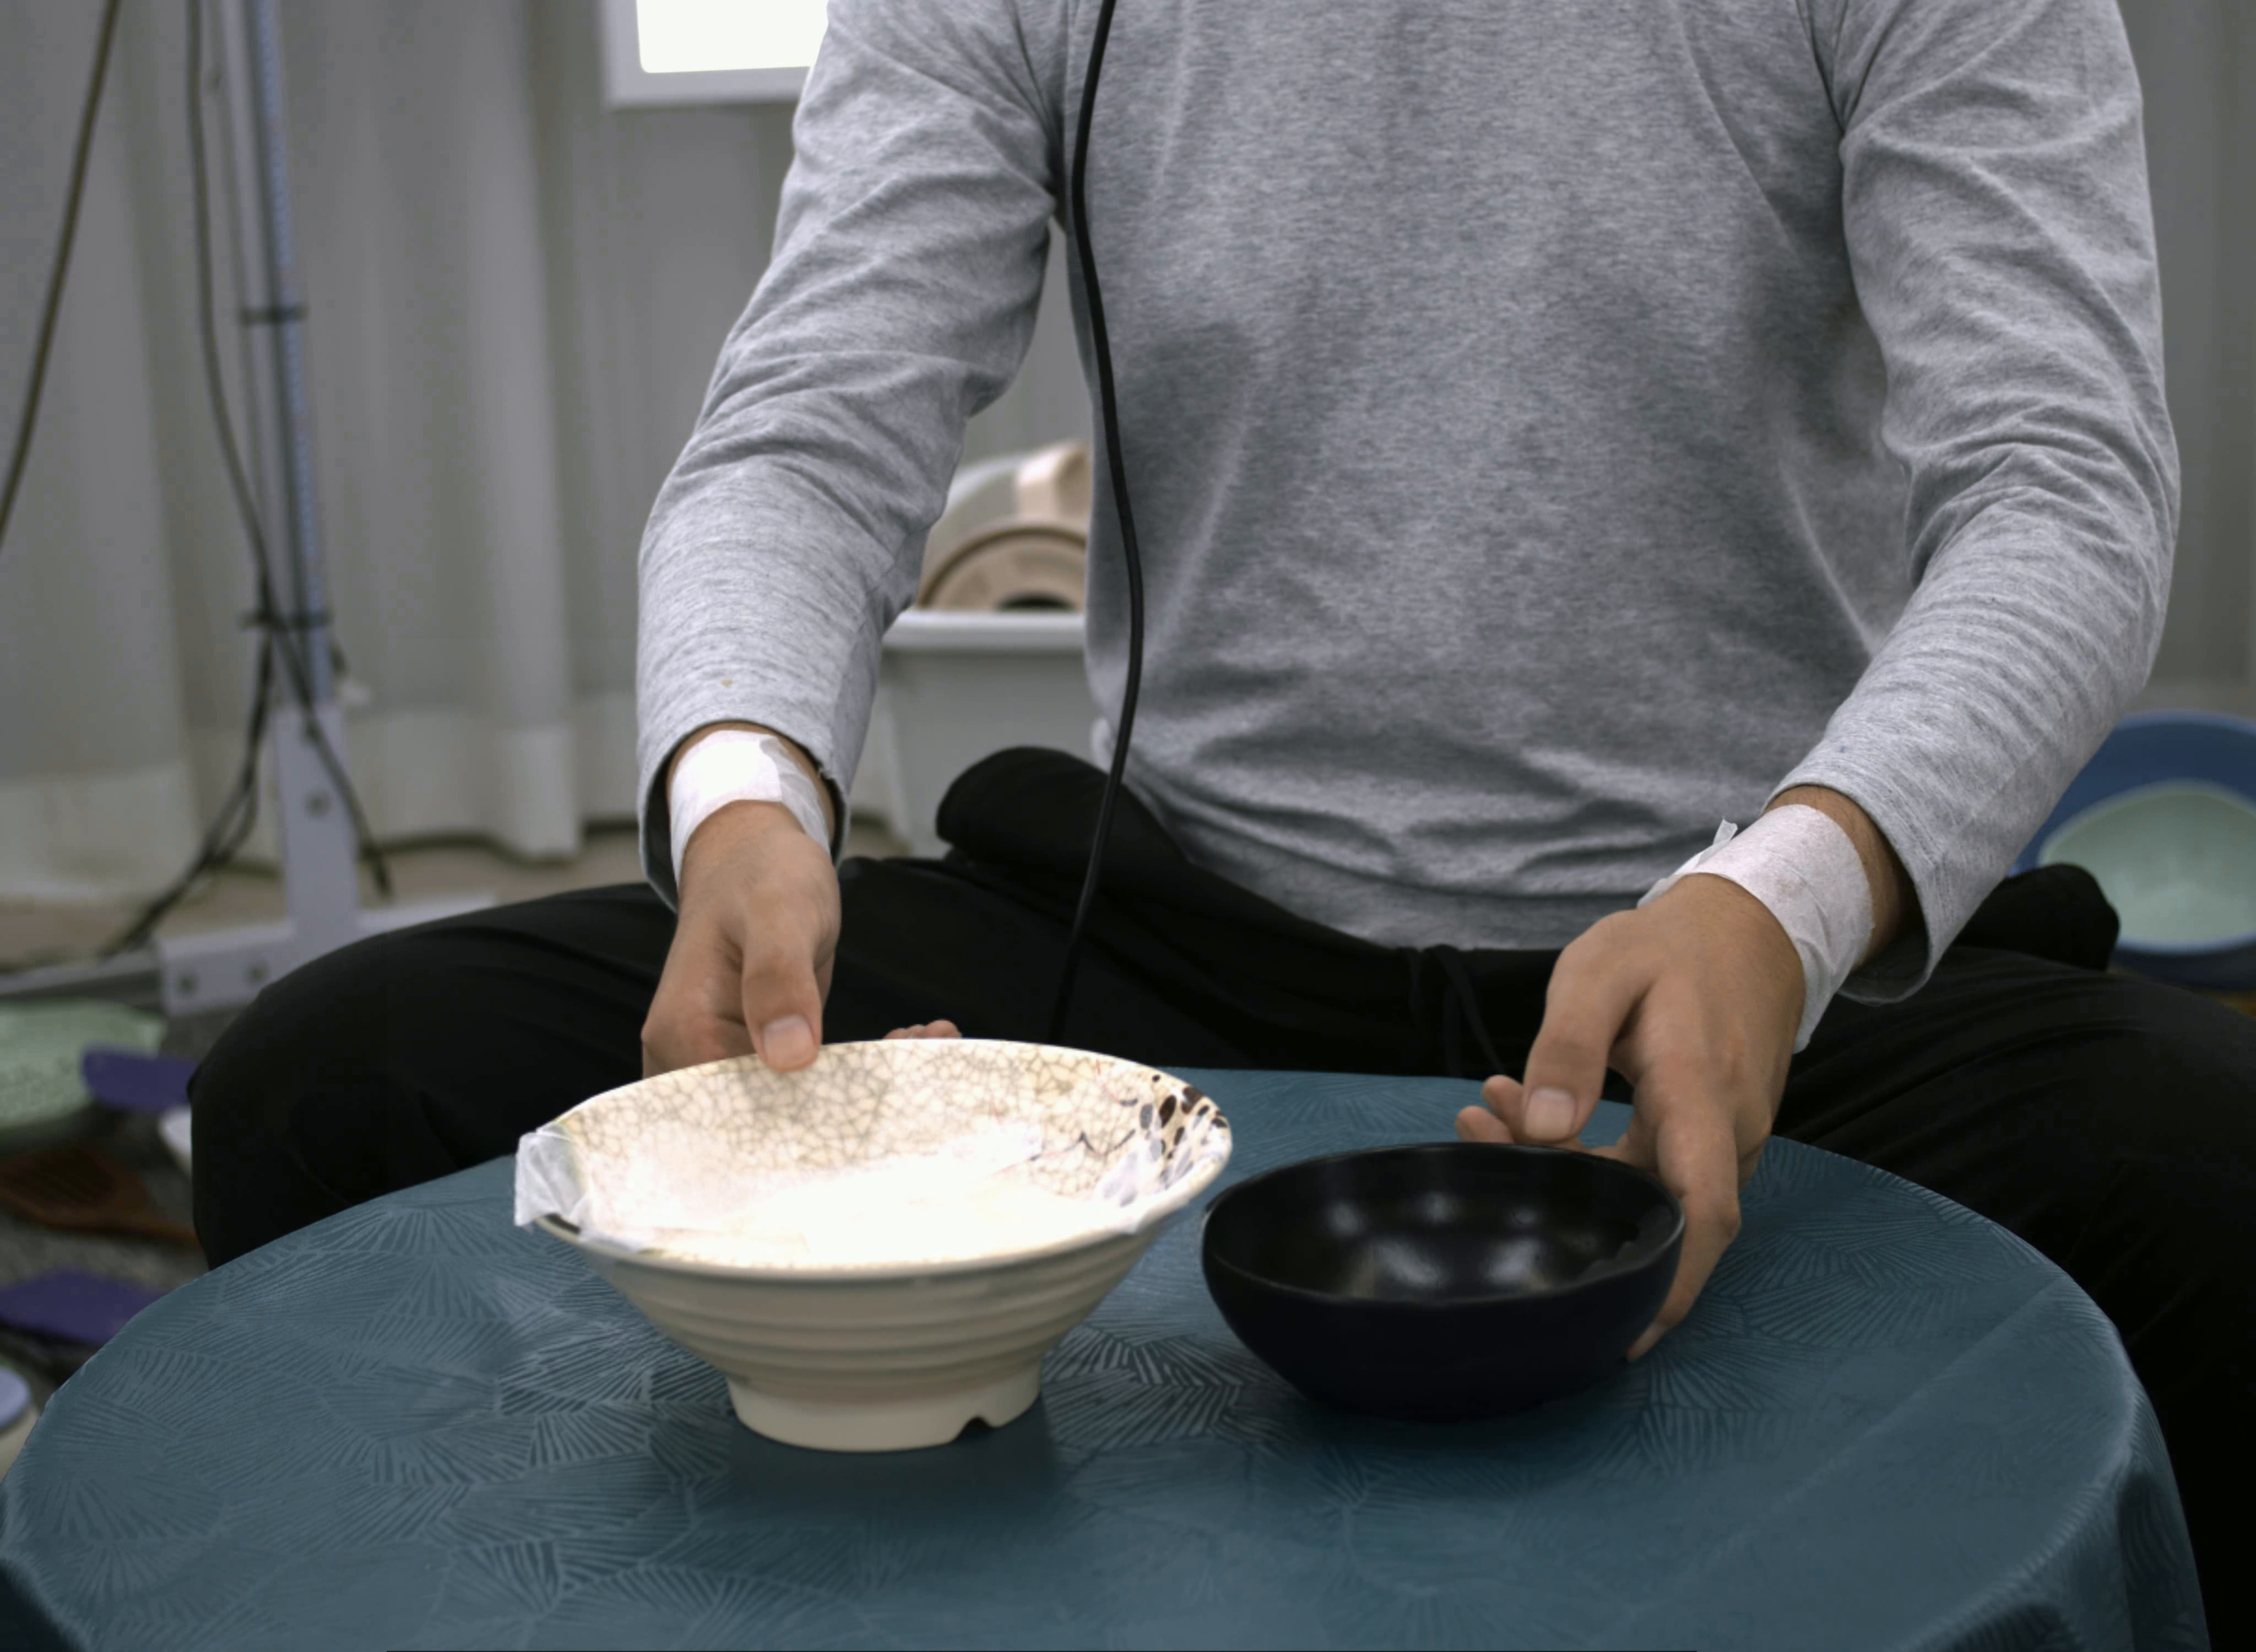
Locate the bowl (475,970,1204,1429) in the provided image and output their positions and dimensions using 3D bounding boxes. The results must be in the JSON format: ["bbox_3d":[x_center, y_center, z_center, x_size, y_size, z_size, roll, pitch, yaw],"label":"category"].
[{"bbox_3d":[-0.079,0.115,1.537,0.203,0.077,0.206,-2,21,0],"label":"bowl"}]

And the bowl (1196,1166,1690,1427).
[{"bbox_3d":[0.088,0.136,1.537,0.139,0.050,0.140,1,10,0],"label":"bowl"}]
